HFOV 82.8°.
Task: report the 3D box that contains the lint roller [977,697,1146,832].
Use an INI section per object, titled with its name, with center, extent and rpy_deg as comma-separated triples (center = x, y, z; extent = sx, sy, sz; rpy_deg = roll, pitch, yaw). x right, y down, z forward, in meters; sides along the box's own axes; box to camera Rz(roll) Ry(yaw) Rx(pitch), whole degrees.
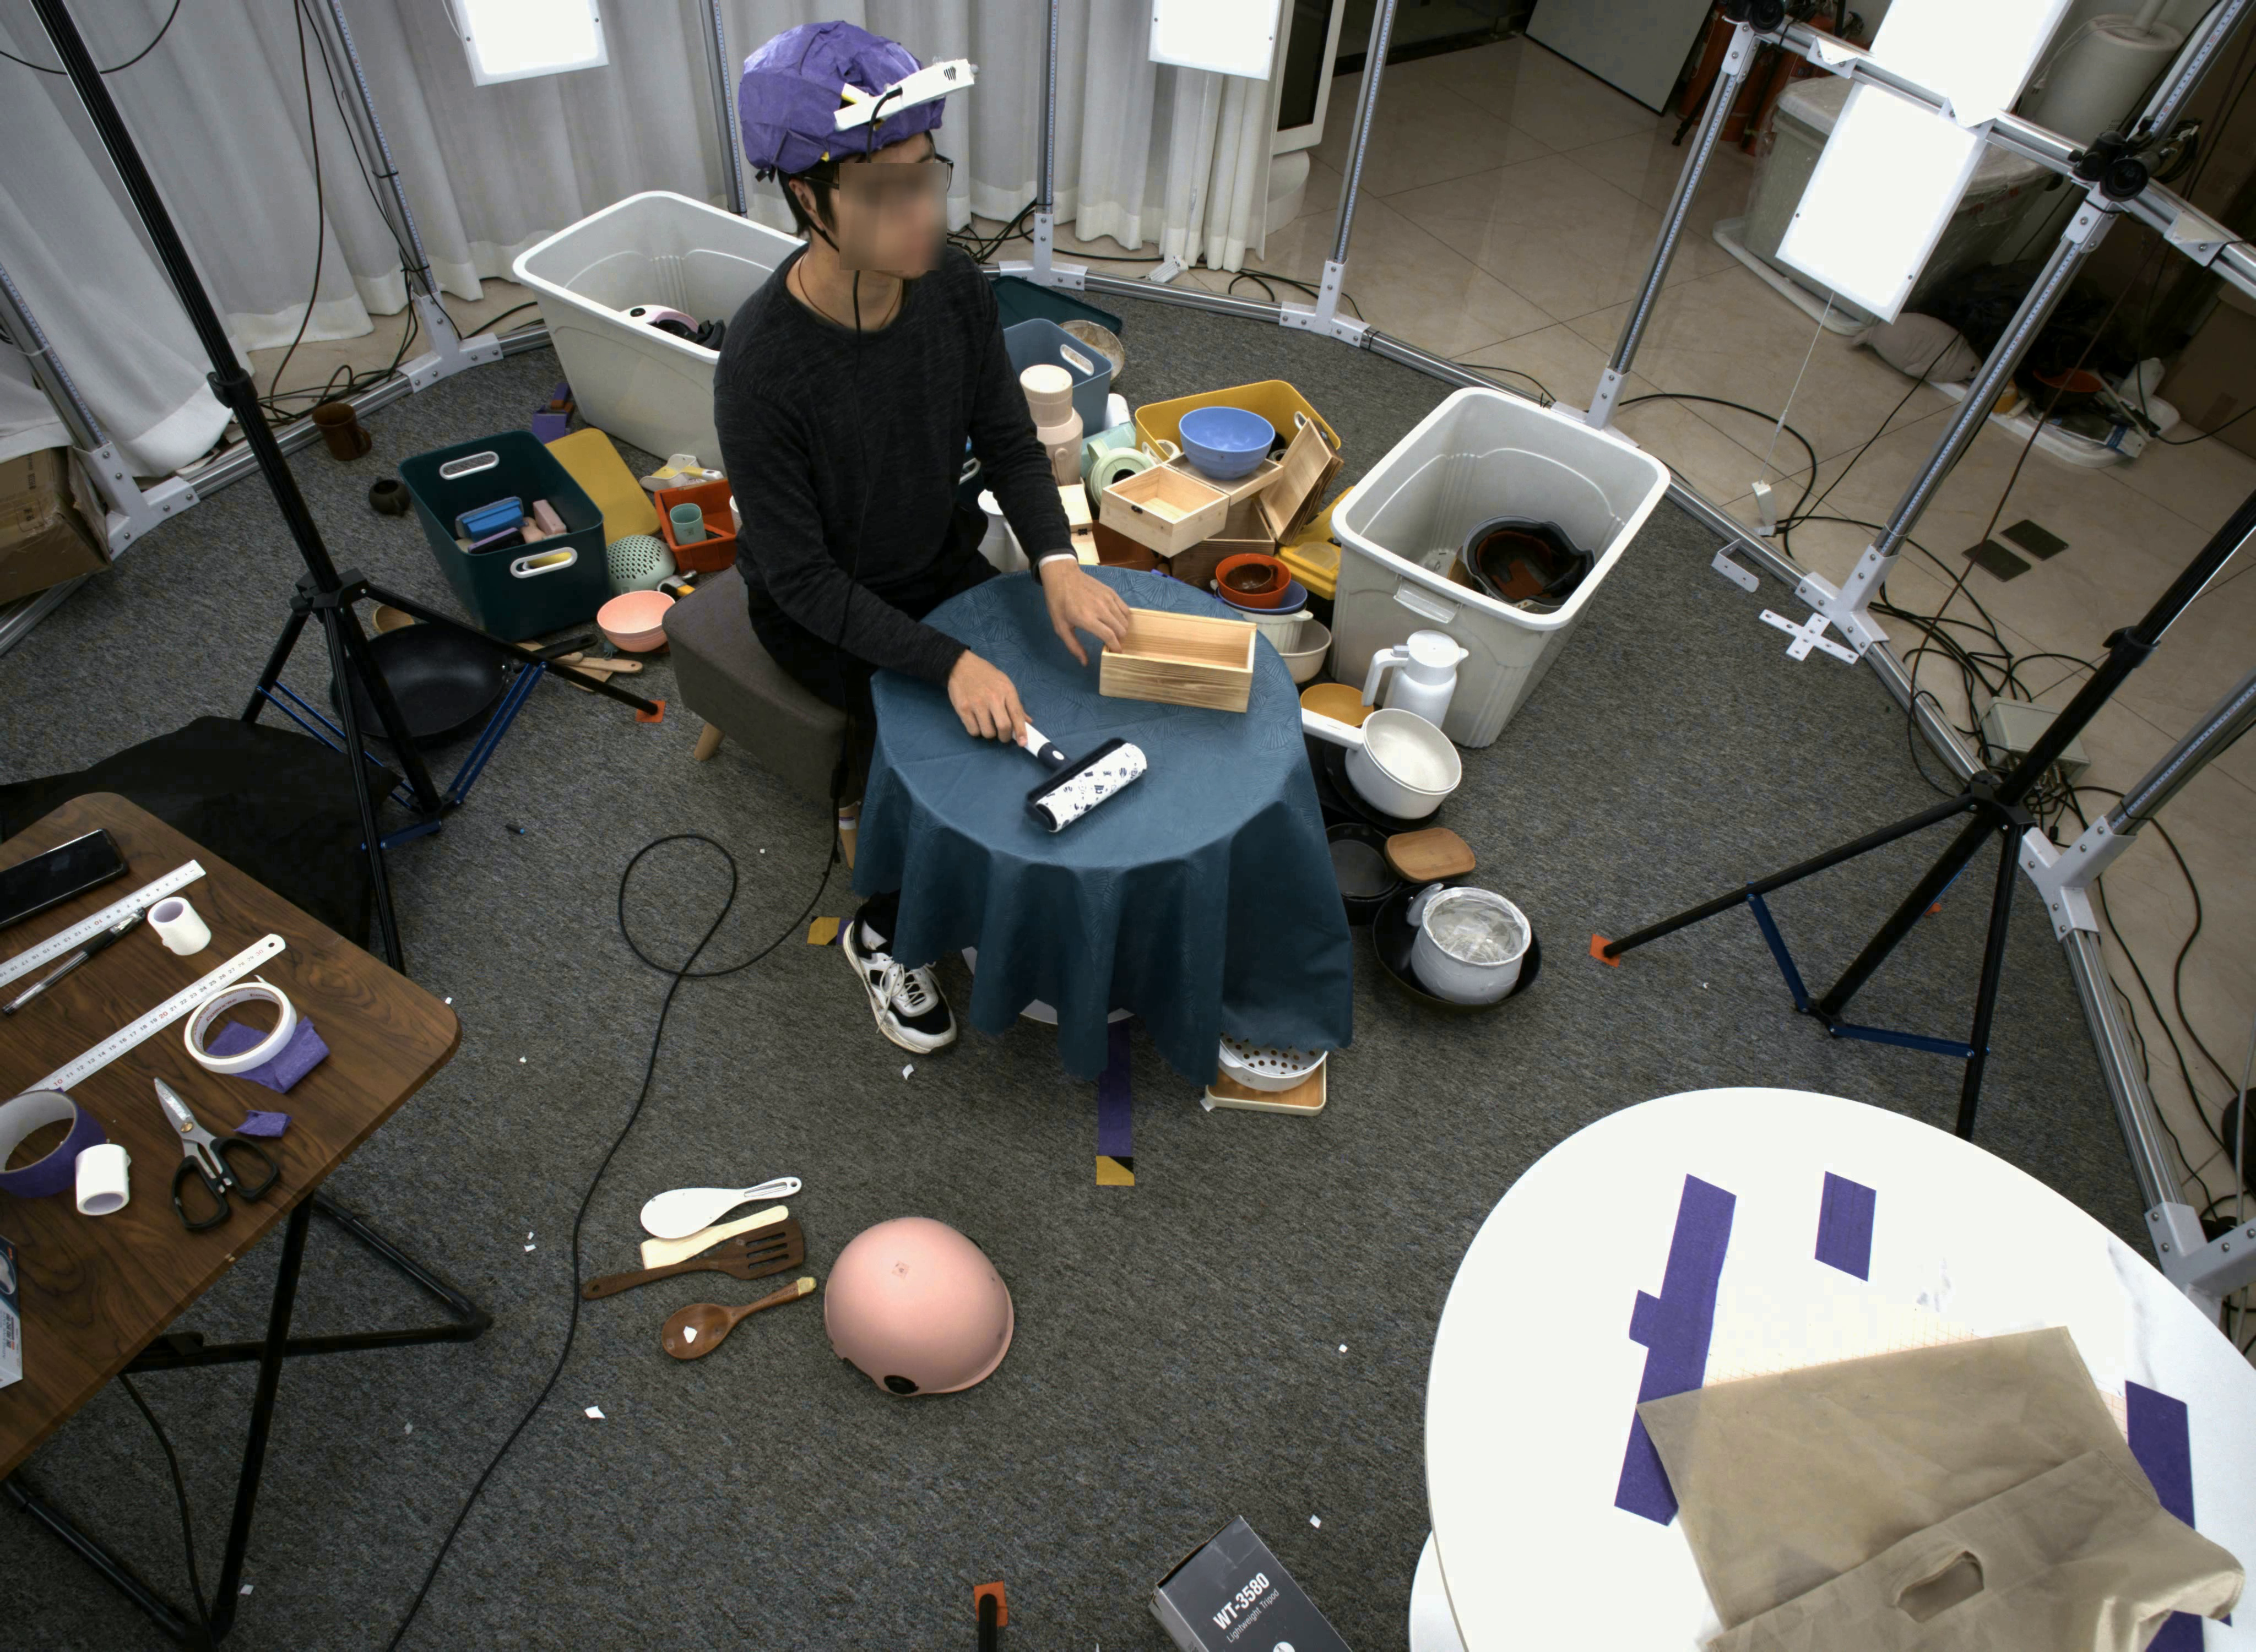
[lint roller]
center = -0.120, -0.108, 1.727
extent = 0.178, 0.049, 0.251
rpy_deg = -35, 59, -28

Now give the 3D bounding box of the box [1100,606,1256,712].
[box]
center = 0.071, -0.238, 1.830
extent = 0.211, 0.078, 0.110
rpy_deg = 7, 49, 2
